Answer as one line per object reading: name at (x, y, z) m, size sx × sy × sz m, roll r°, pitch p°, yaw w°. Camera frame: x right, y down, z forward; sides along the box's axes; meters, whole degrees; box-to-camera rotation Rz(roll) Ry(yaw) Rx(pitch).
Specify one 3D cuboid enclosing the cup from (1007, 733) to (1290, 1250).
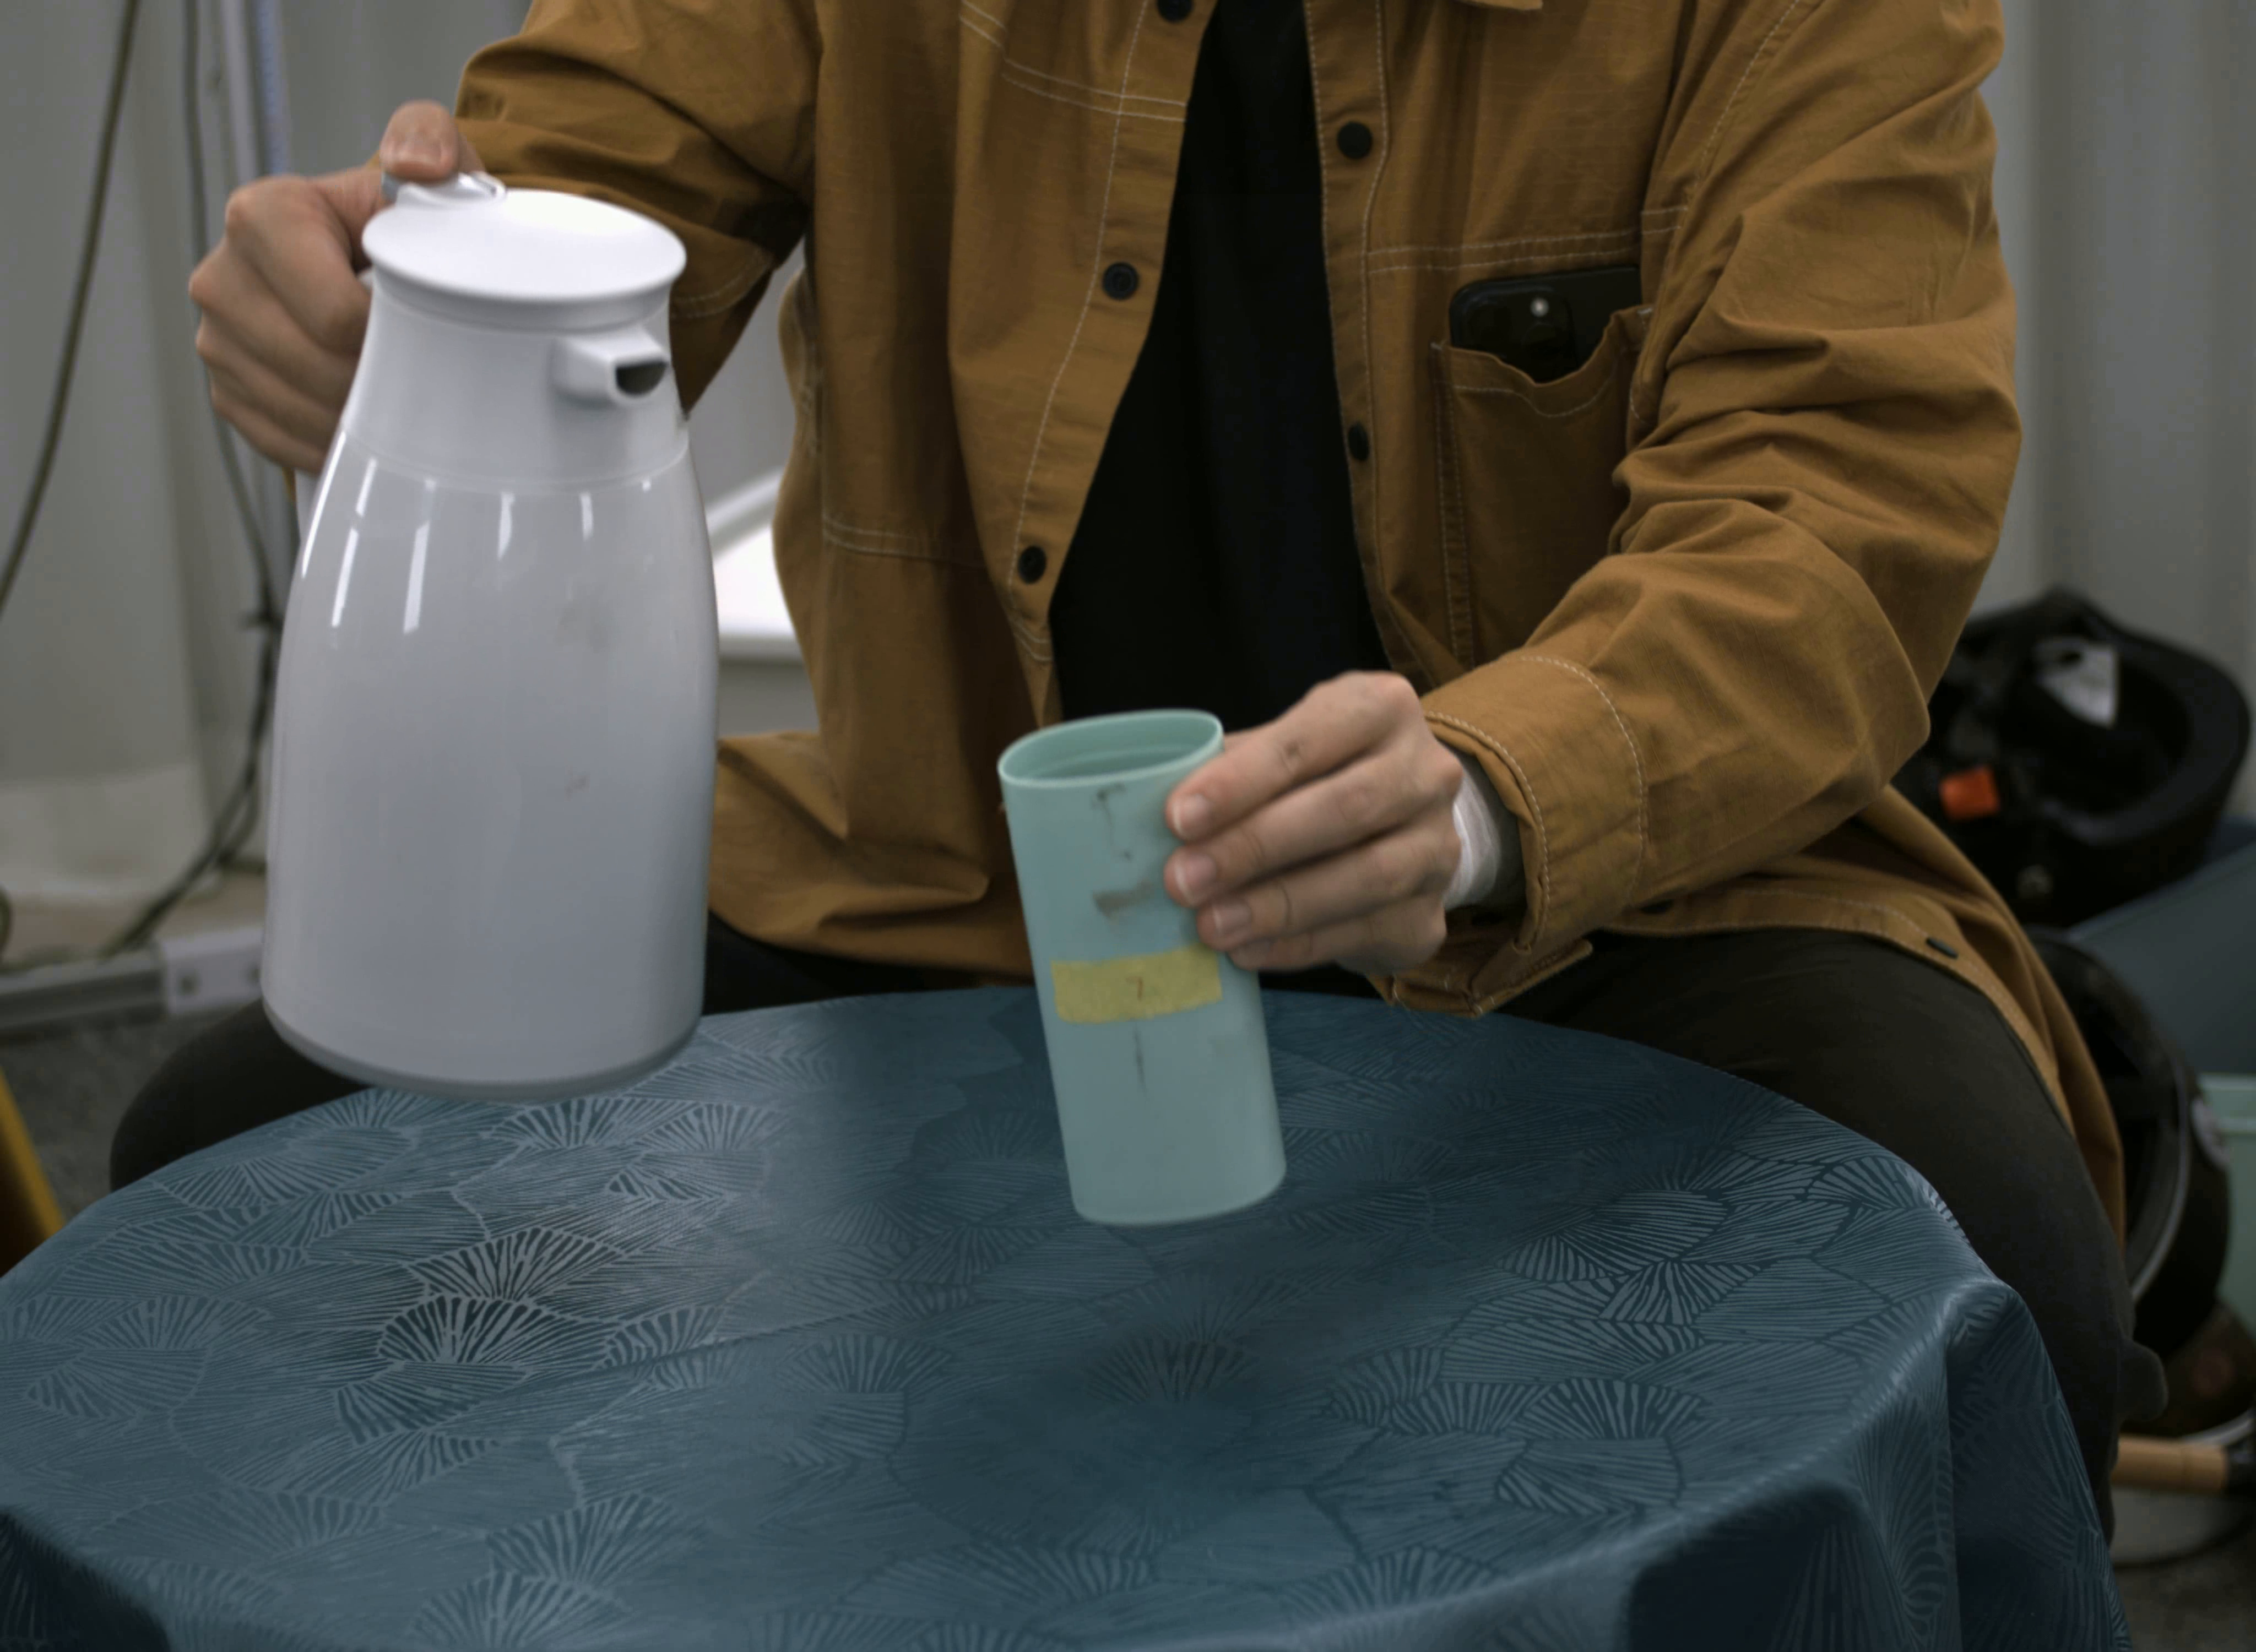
cup at (0.007, 0.045, 1.525) m, size 0.066 × 0.132 × 0.067 m, roll -8°, pitch 15°, yaw 2°

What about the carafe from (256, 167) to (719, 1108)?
carafe at (-0.194, -0.064, 1.603) m, size 0.132 × 0.247 × 0.169 m, roll -12°, pitch 28°, yaw -37°
